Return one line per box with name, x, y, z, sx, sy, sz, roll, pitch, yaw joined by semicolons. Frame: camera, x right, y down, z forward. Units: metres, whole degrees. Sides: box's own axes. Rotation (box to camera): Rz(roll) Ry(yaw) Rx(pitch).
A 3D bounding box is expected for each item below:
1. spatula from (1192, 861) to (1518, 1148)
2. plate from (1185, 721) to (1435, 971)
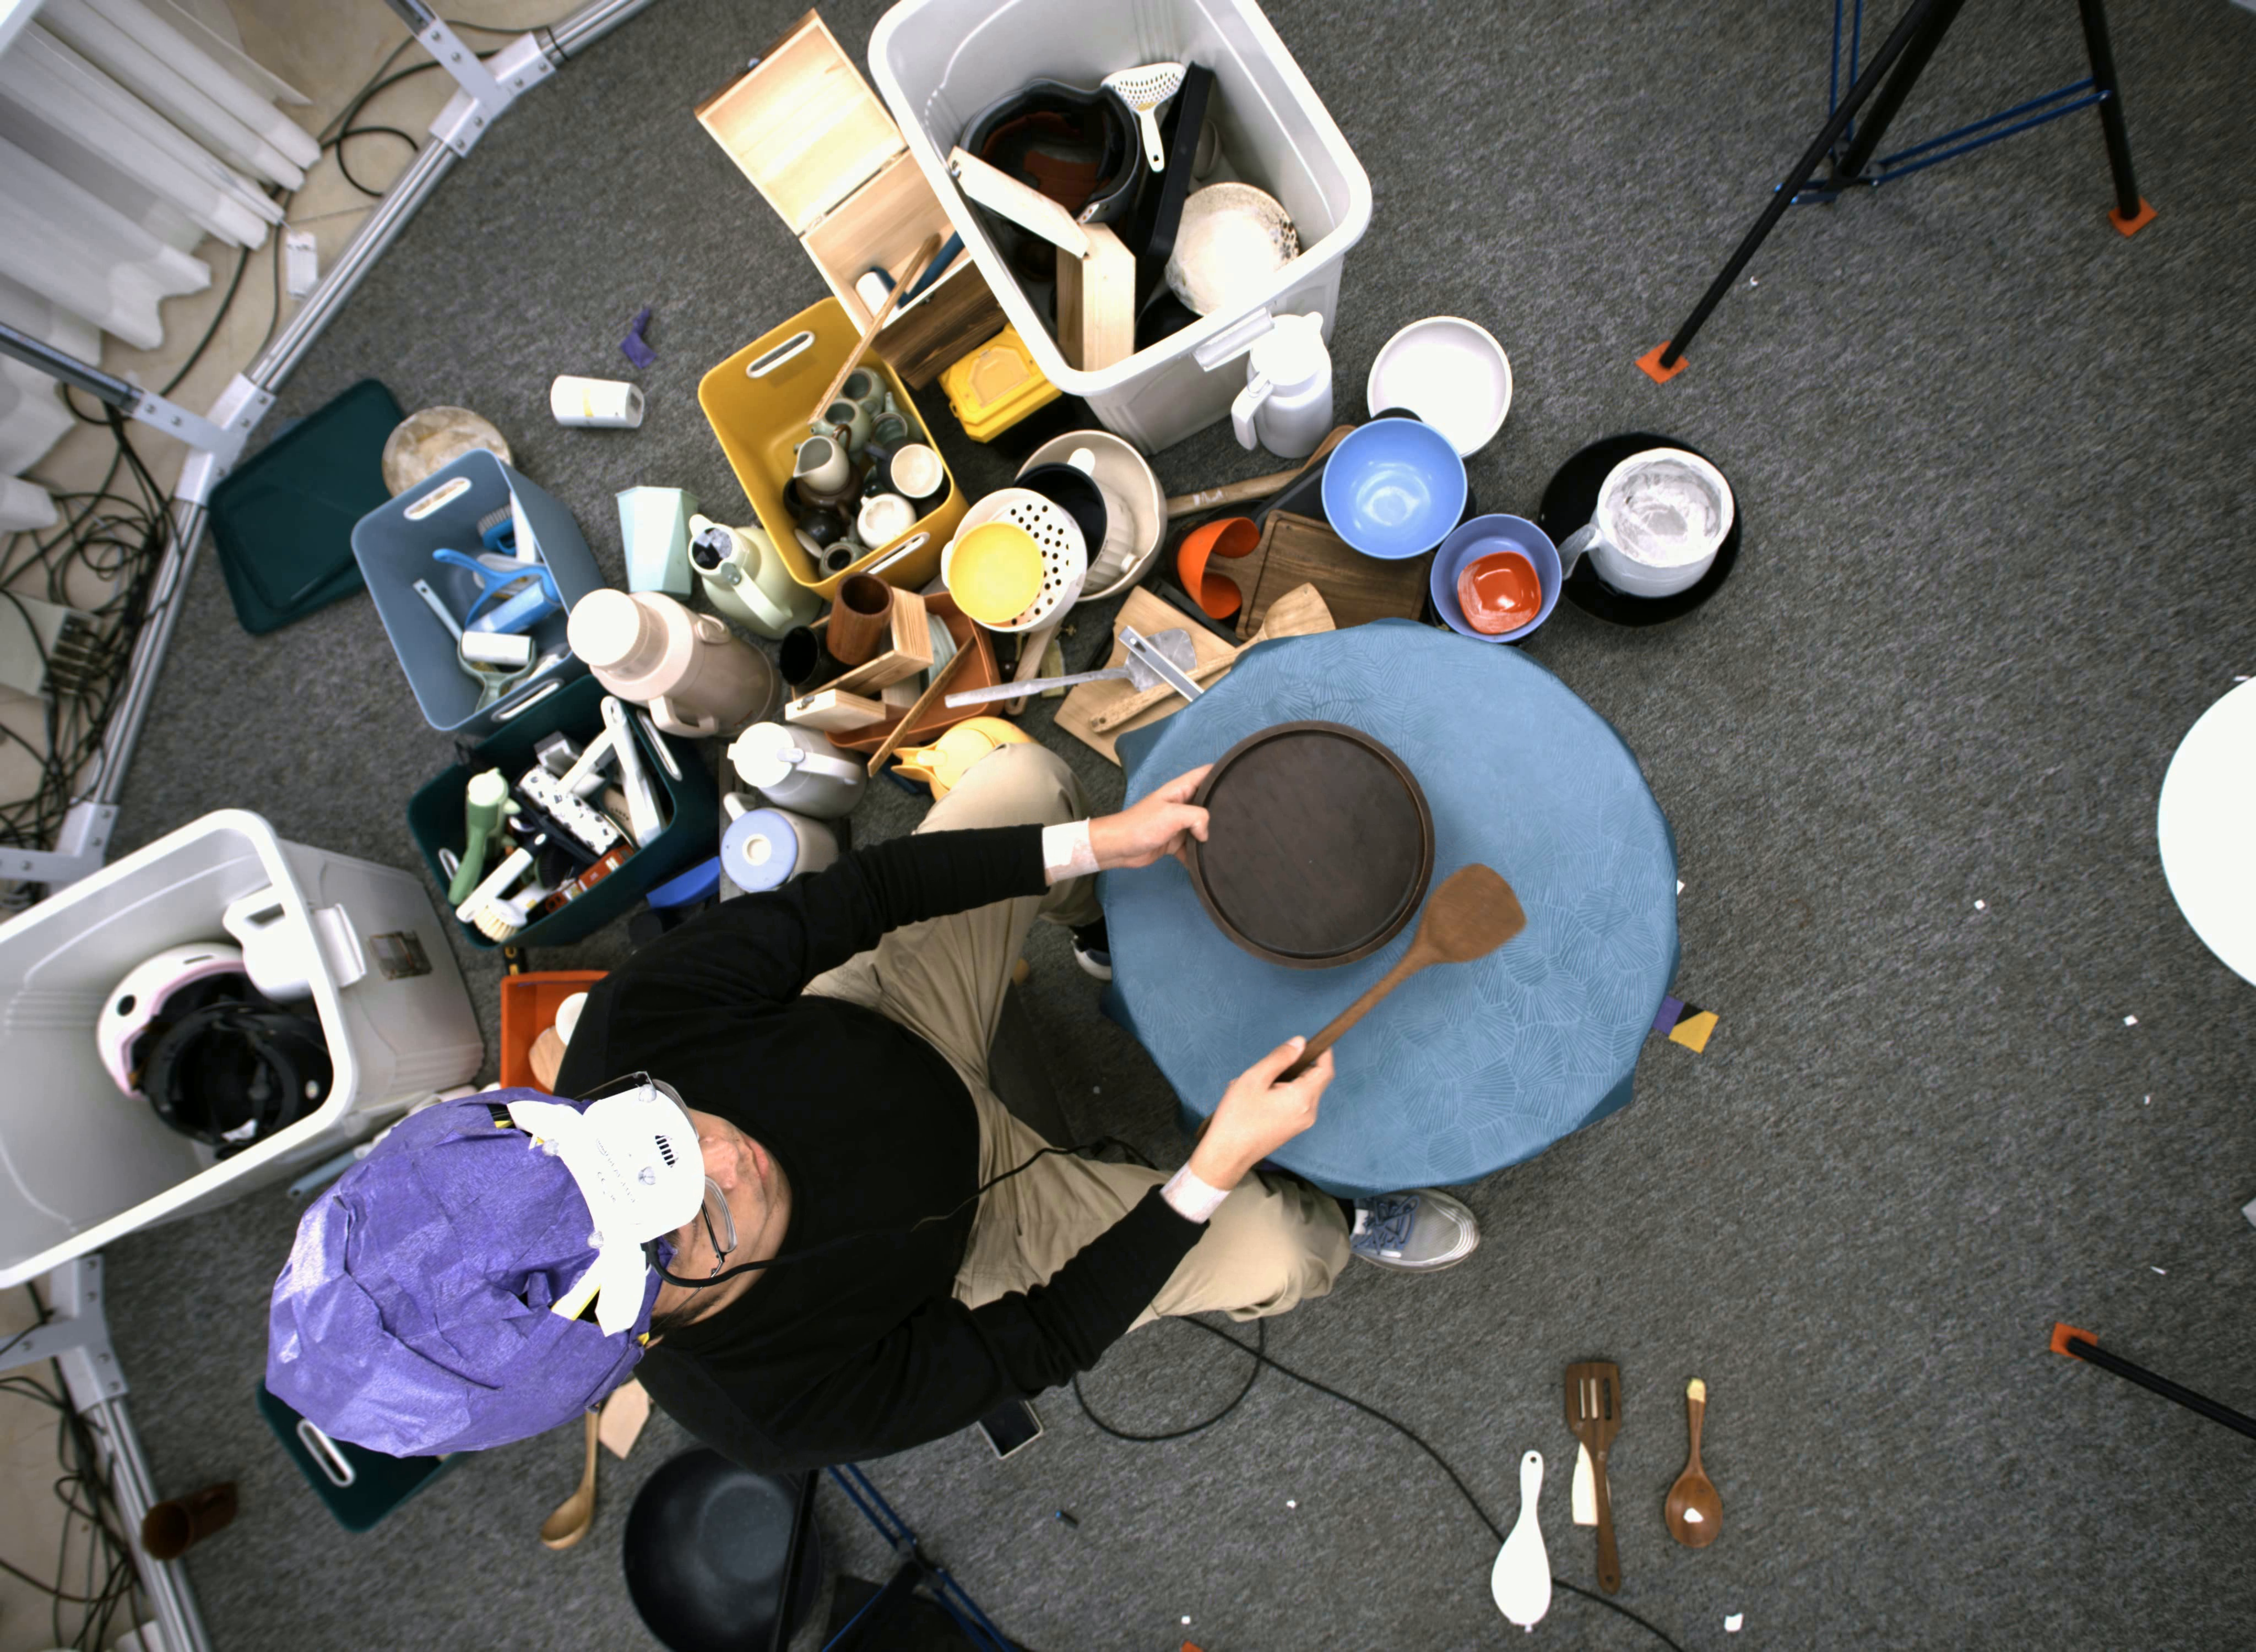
spatula;0.210;0.179;1.320;0.388;0.015;0.097;-42;113;5
plate;0.183;0.019;1.398;0.255;0.029;0.254;0;90;-1
